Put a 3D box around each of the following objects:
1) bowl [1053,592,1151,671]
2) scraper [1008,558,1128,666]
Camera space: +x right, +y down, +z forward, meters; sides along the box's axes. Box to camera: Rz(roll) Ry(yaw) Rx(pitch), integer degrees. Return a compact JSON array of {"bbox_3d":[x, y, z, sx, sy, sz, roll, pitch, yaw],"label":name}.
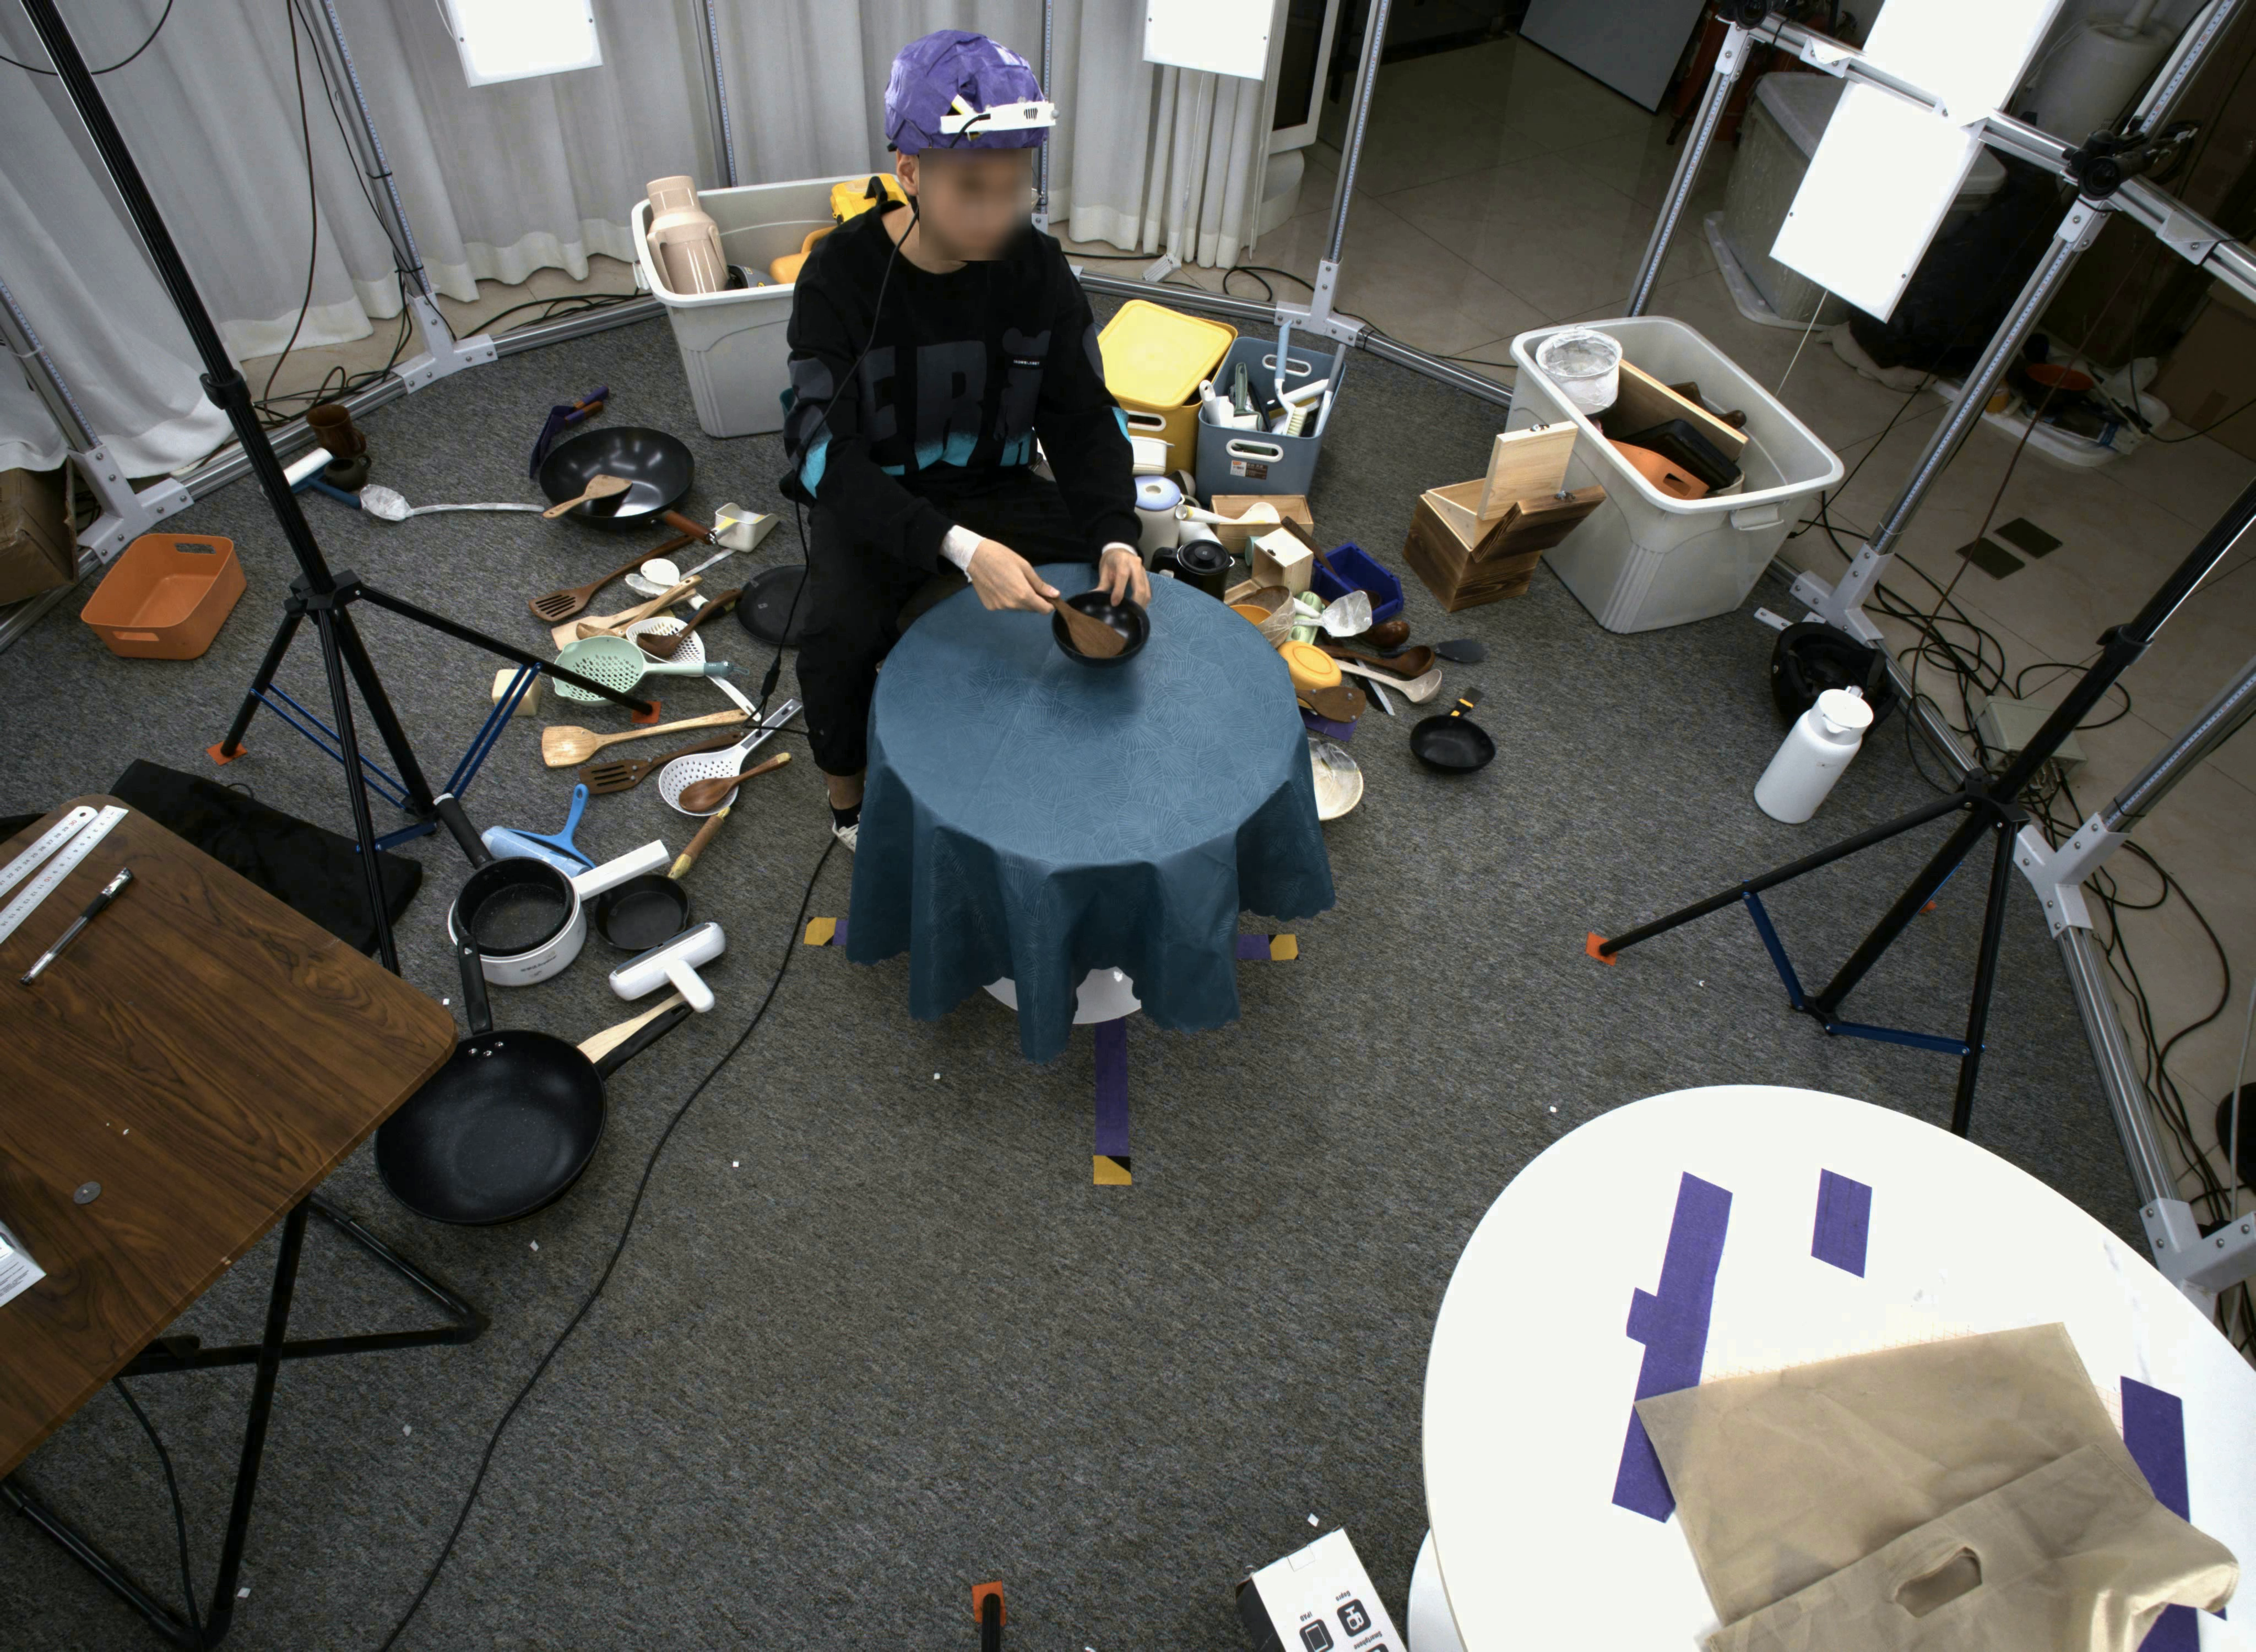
[{"bbox_3d":[-0.037,-0.269,1.834,0.140,0.048,0.143,0,52,-1],"label":"bowl"},{"bbox_3d":[-0.091,-0.309,1.832,0.213,0.010,0.076,44,52,11],"label":"scraper"}]
